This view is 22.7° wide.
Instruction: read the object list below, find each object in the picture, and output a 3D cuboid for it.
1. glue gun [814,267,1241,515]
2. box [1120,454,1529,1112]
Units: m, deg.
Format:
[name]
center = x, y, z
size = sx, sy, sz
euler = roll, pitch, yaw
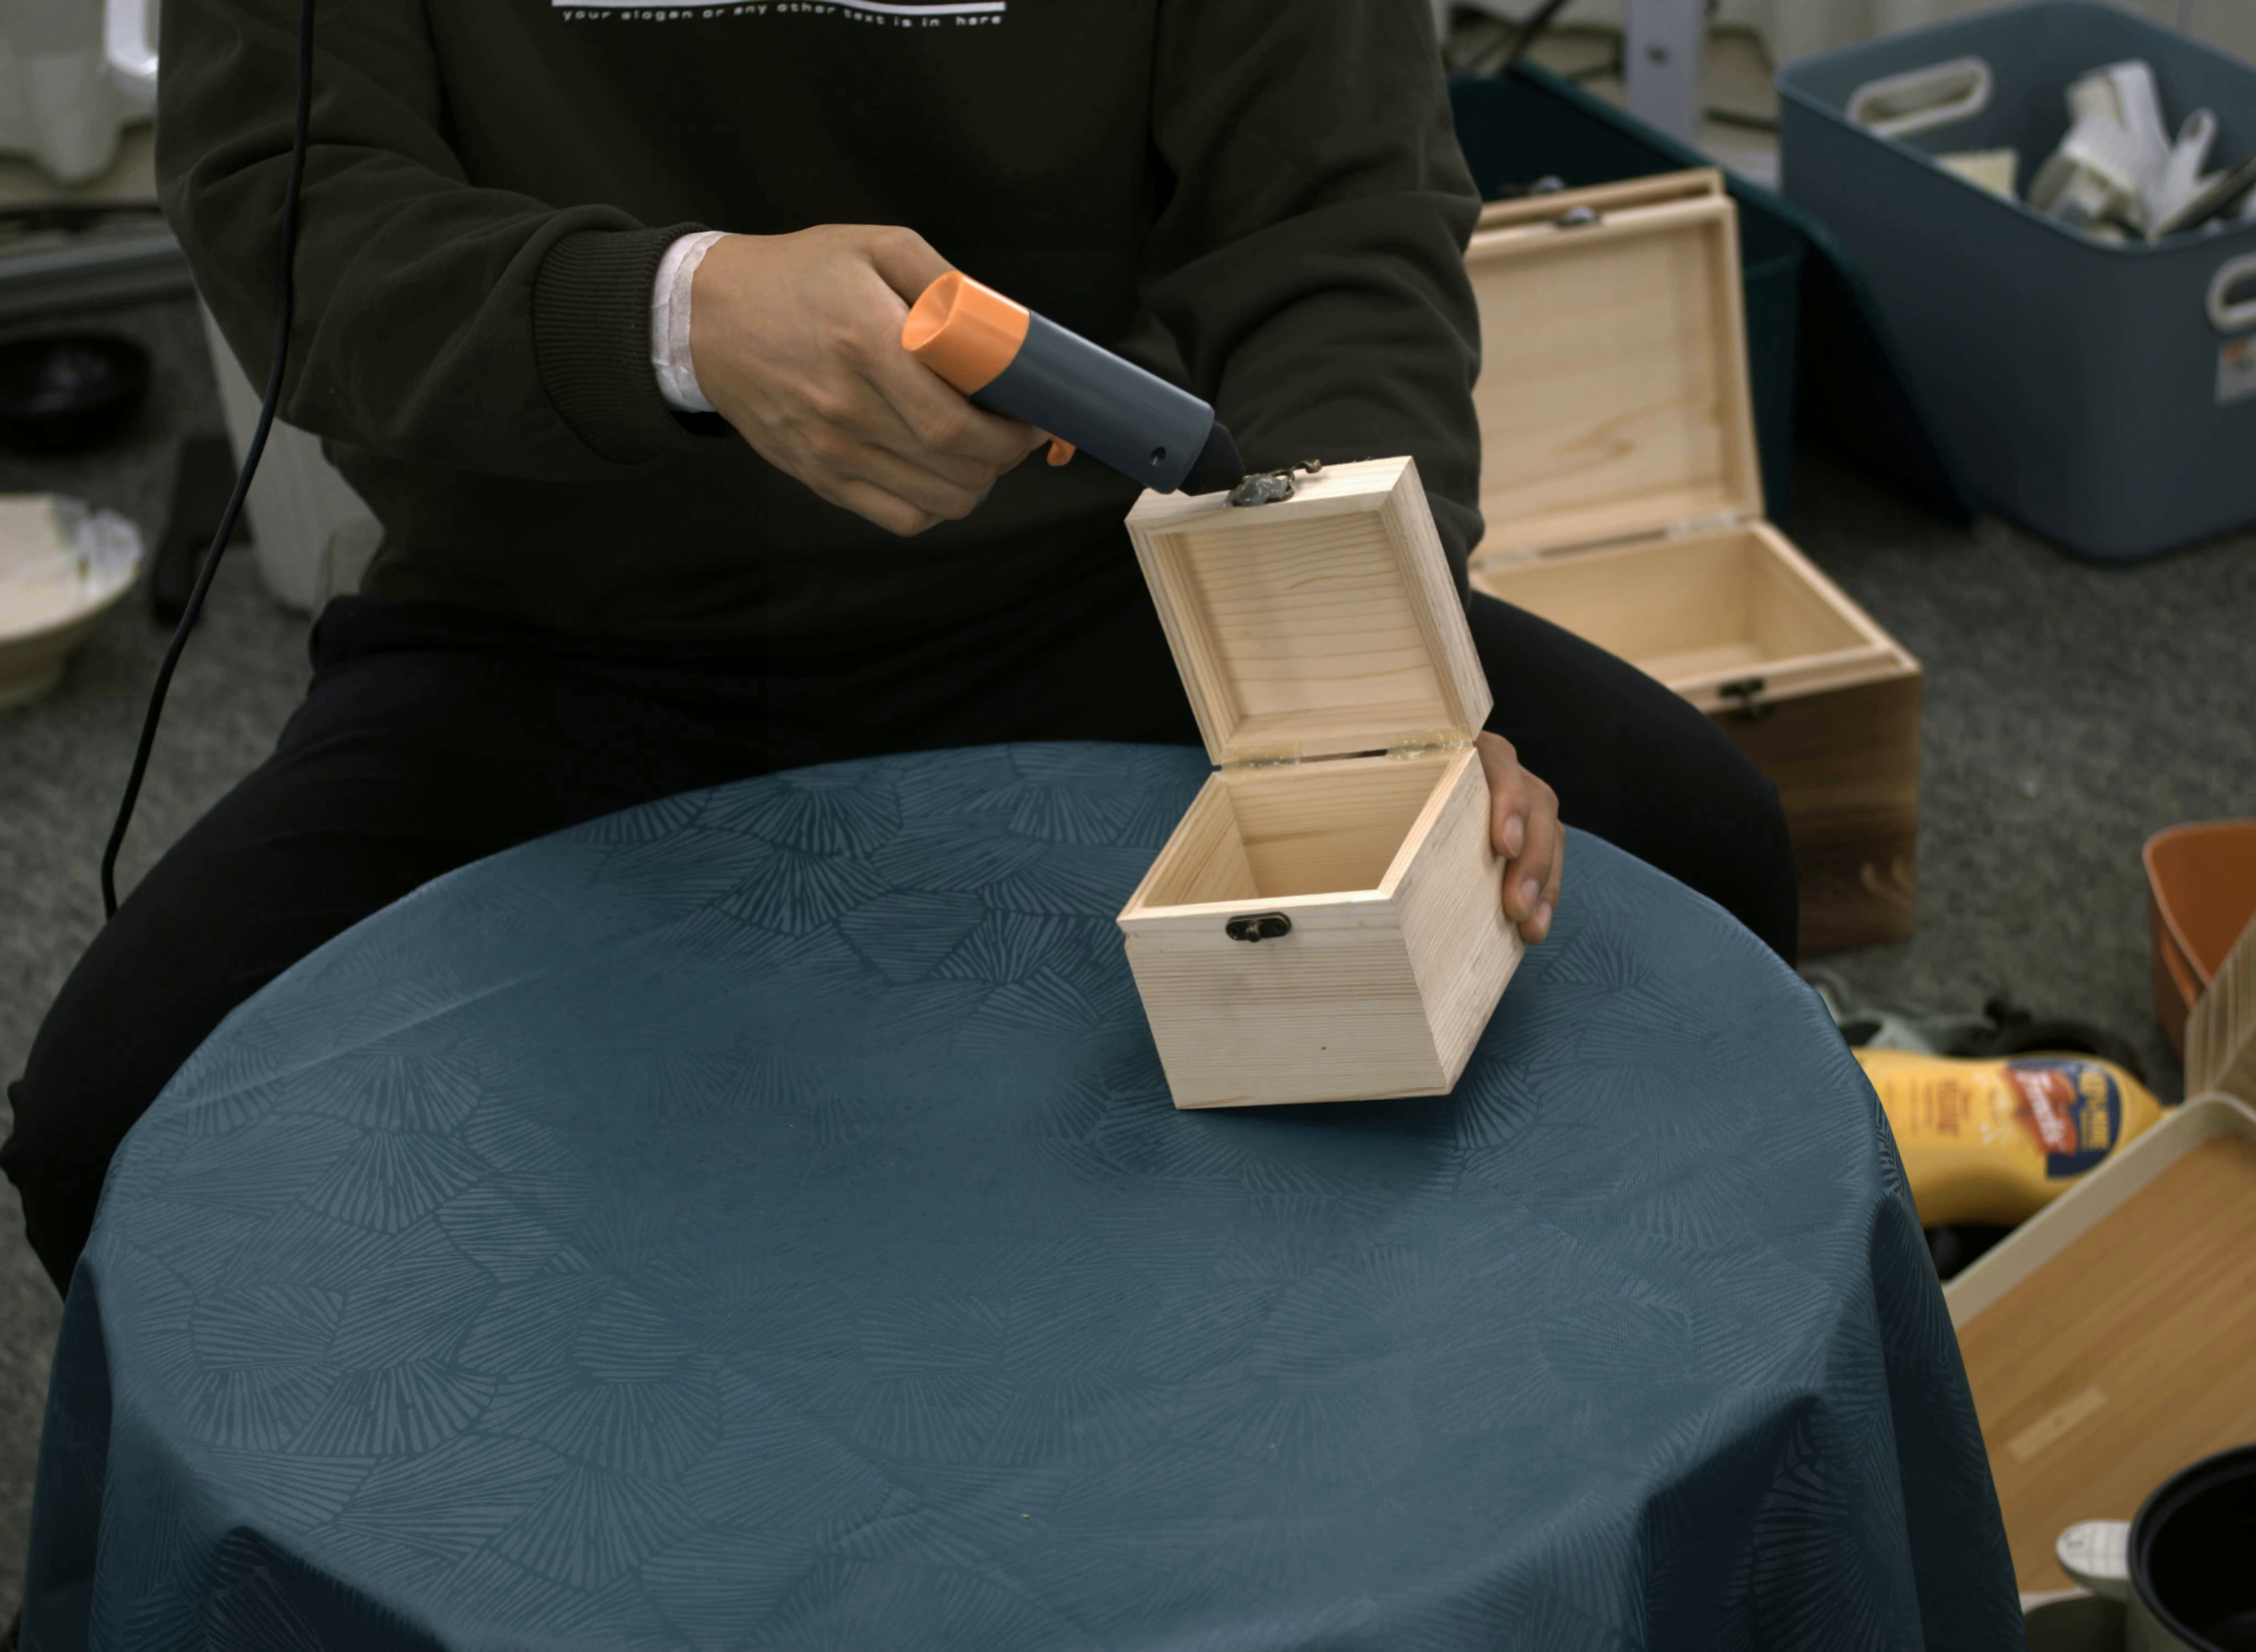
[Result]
[glue gun]
center = -0.037, -0.141, 1.925
size = 0.138, 0.117, 0.041
euler = -7, 52, 57
[box]
center = 0.057, -0.014, 1.903
size = 0.101, 0.183, 0.136
euler = -5, 27, 24
